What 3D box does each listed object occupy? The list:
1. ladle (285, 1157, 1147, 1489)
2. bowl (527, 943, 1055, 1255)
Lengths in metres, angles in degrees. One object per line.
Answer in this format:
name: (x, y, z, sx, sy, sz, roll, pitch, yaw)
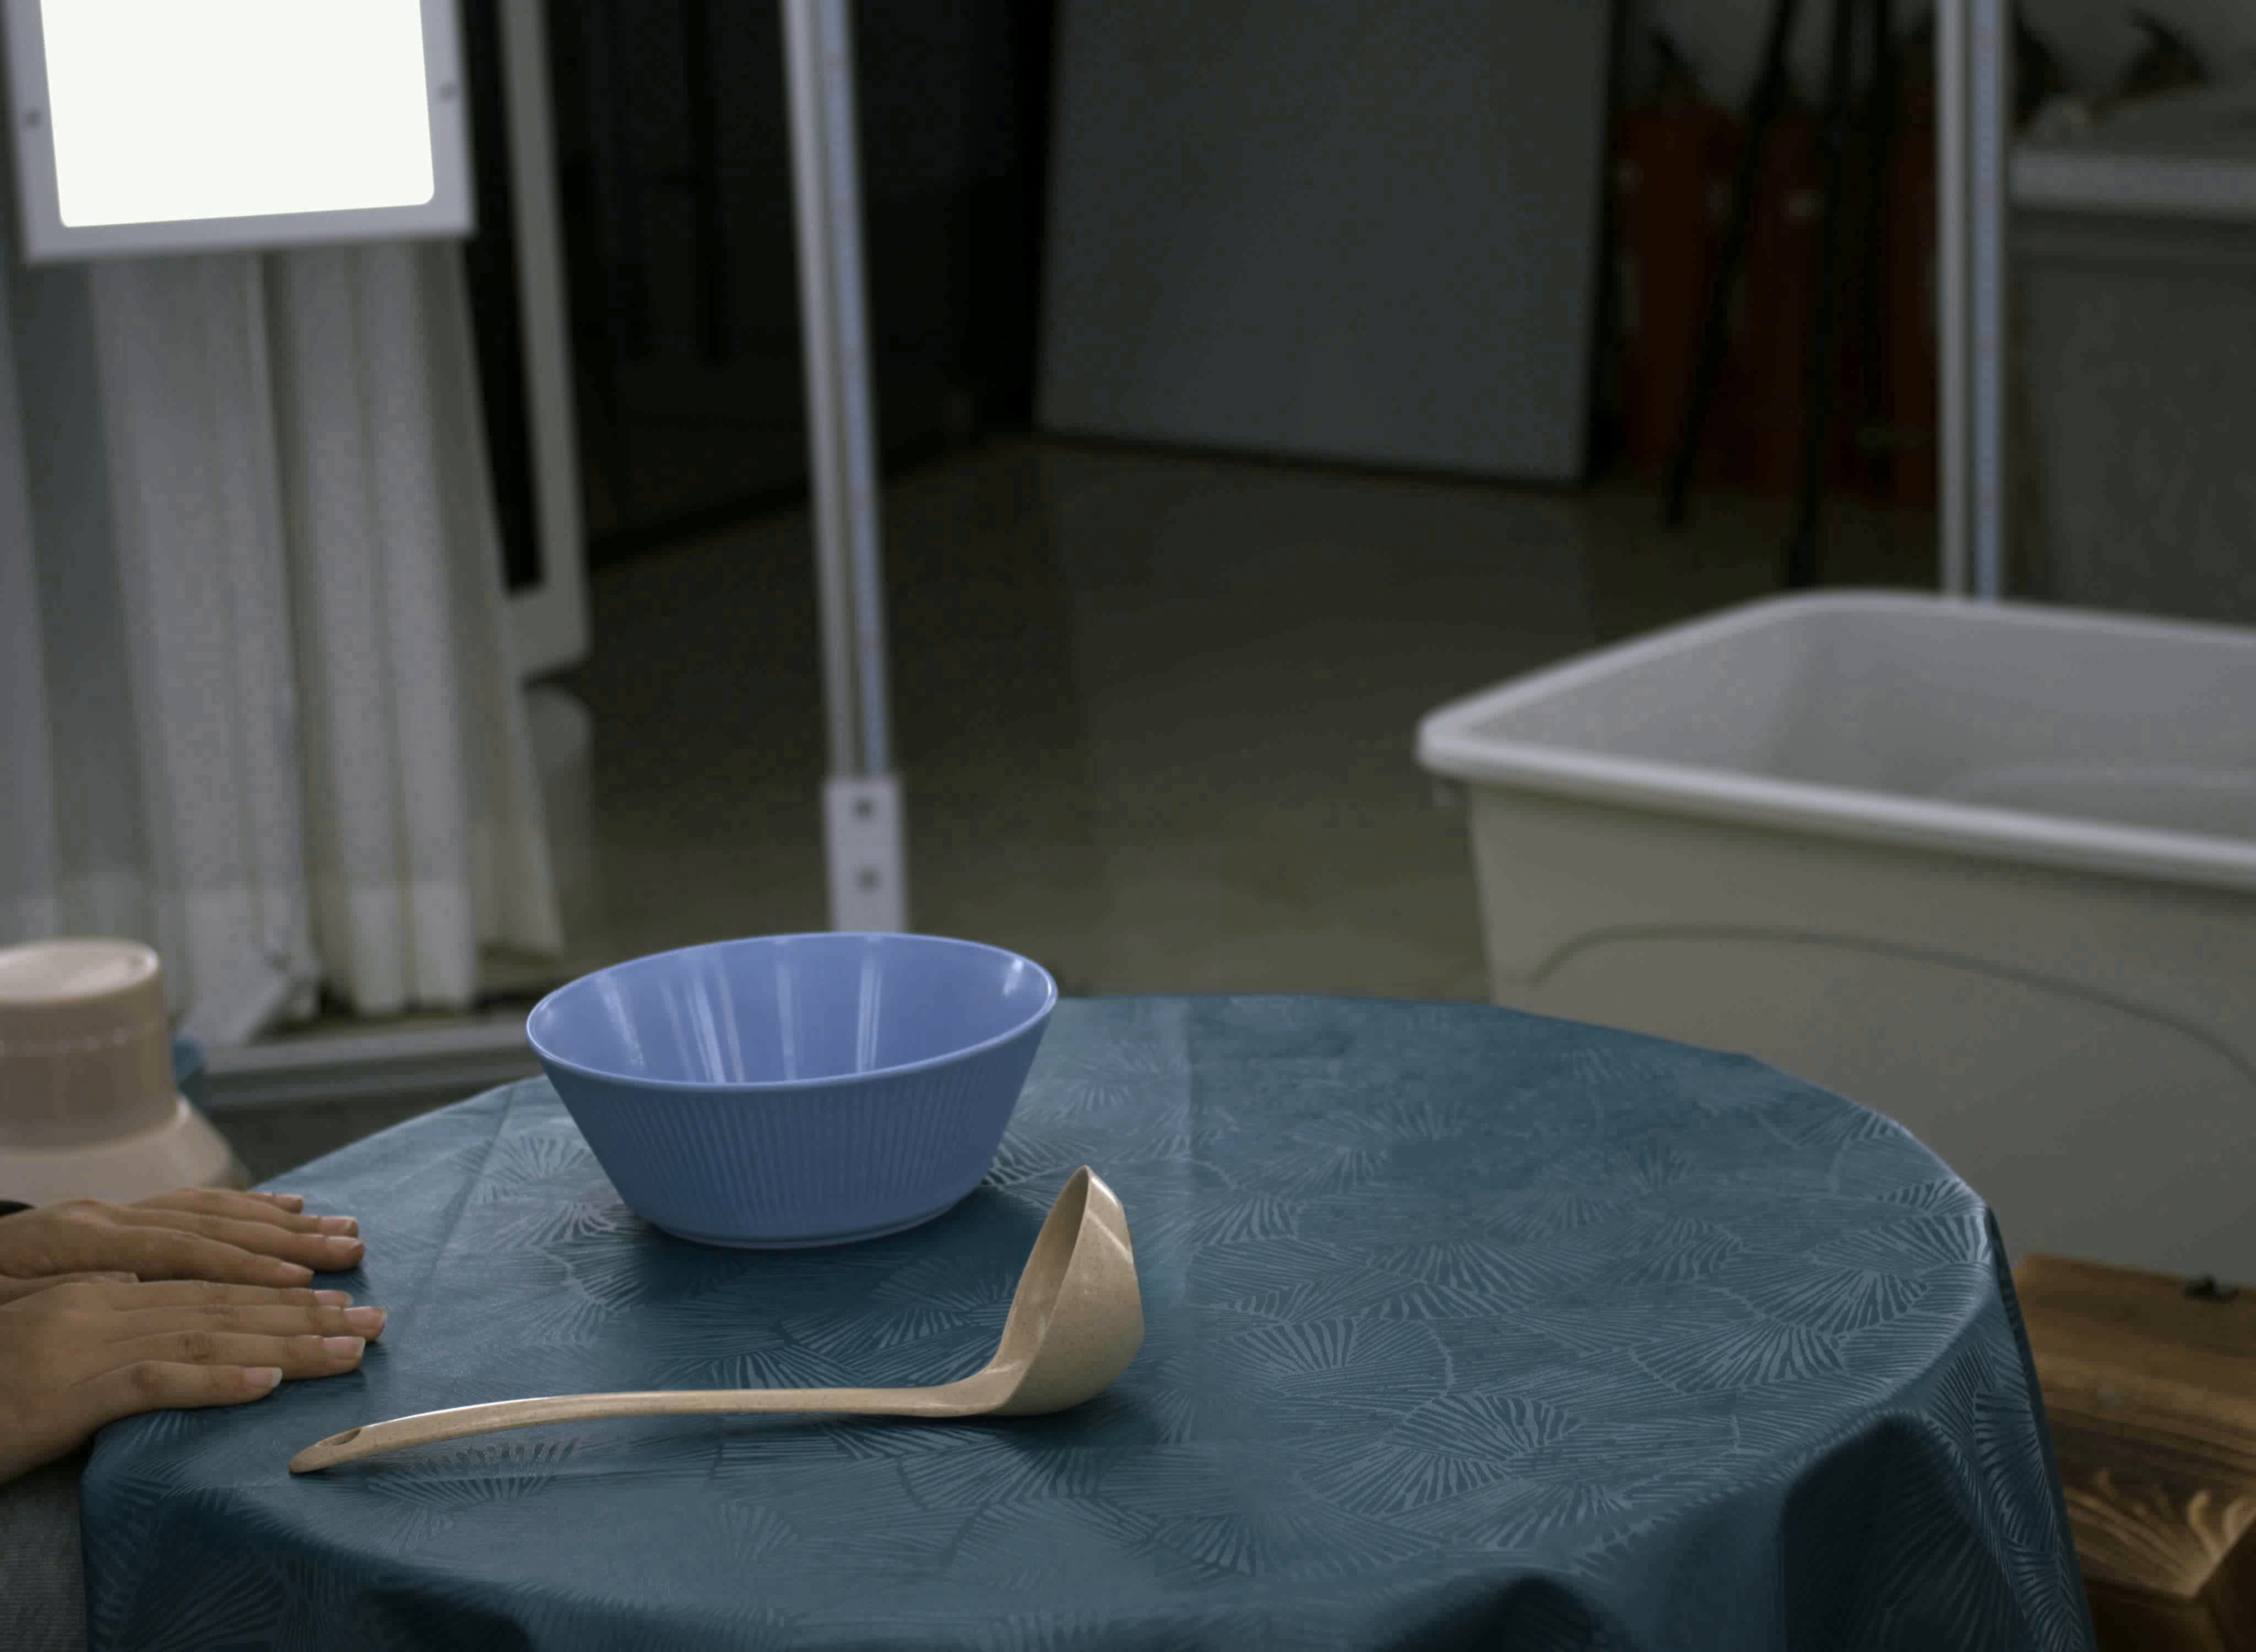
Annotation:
ladle: (-0.120, 0.143, 1.563, 0.250, 0.073, 0.072, -5, 12, -4)
bowl: (-0.108, 0.092, 1.776, 0.174, 0.071, 0.176, -4, 13, 0)
